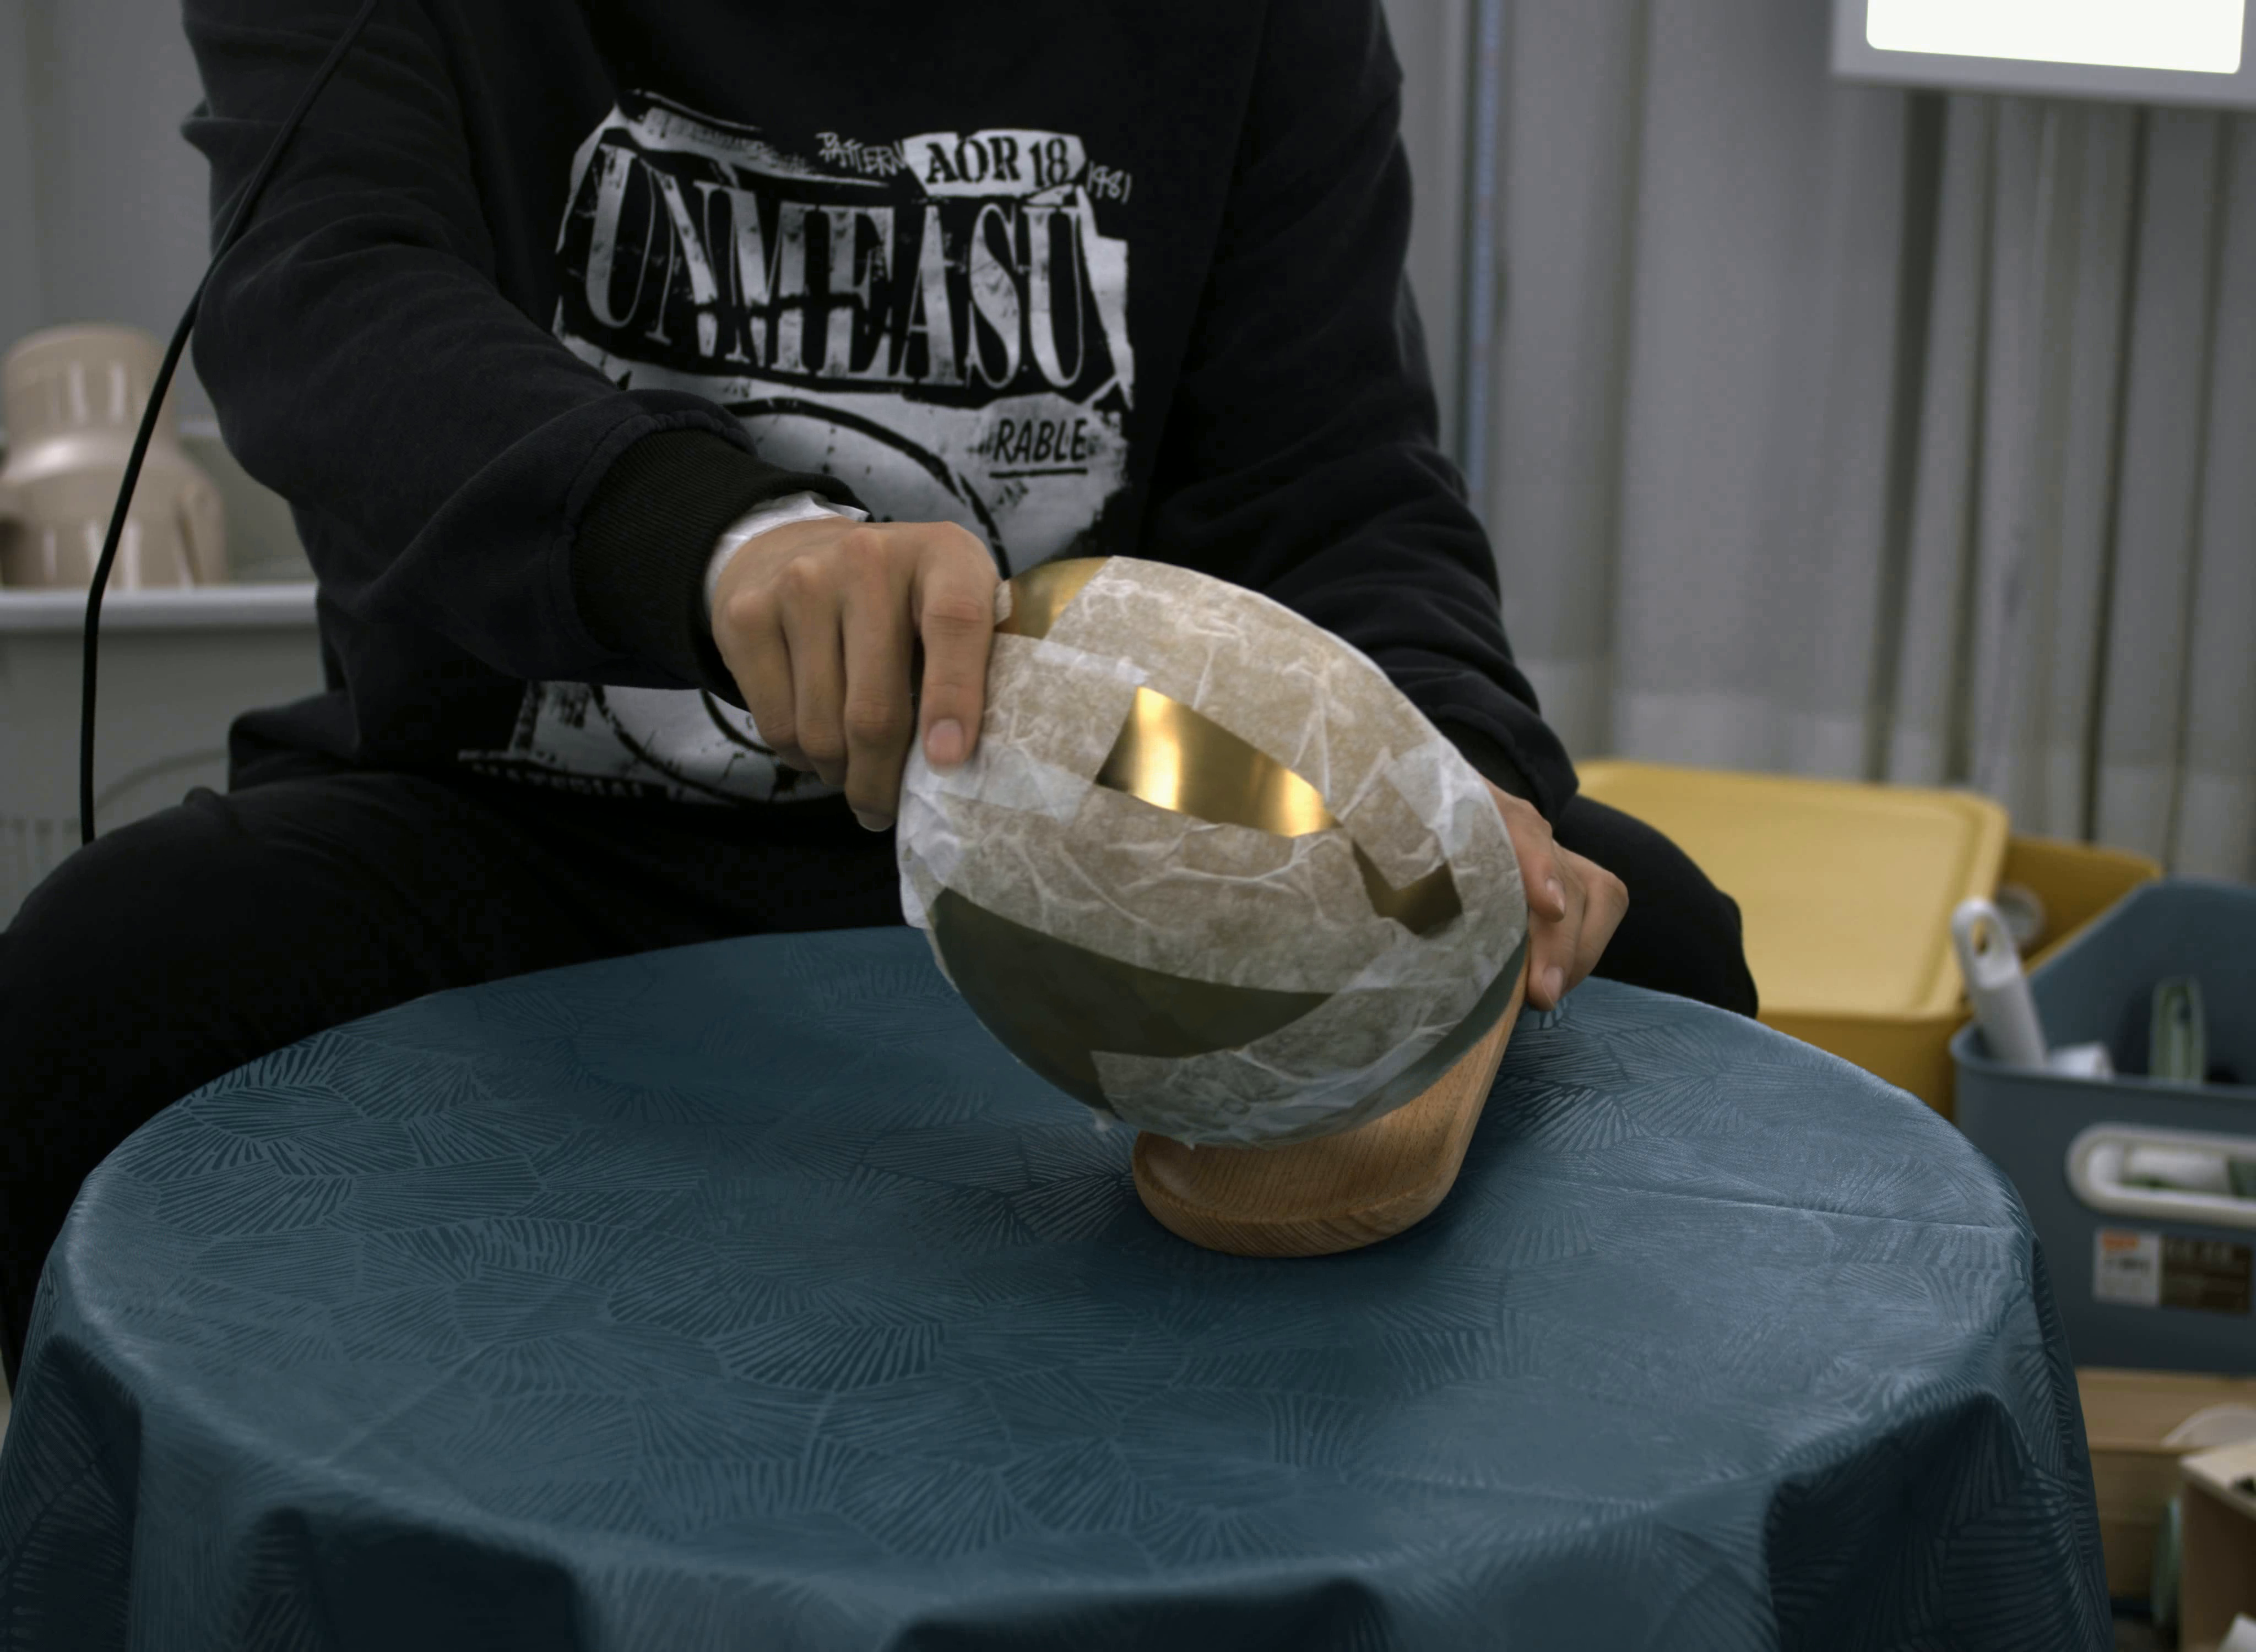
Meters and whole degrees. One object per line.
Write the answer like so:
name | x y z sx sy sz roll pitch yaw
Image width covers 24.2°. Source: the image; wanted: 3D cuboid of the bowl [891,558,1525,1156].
bowl | 0.008 0.029 1.553 0.212 0.218 0.094 11 48 31

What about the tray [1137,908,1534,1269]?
tray | 0.068 0.076 1.660 0.101 0.020 0.230 -1 27 15
